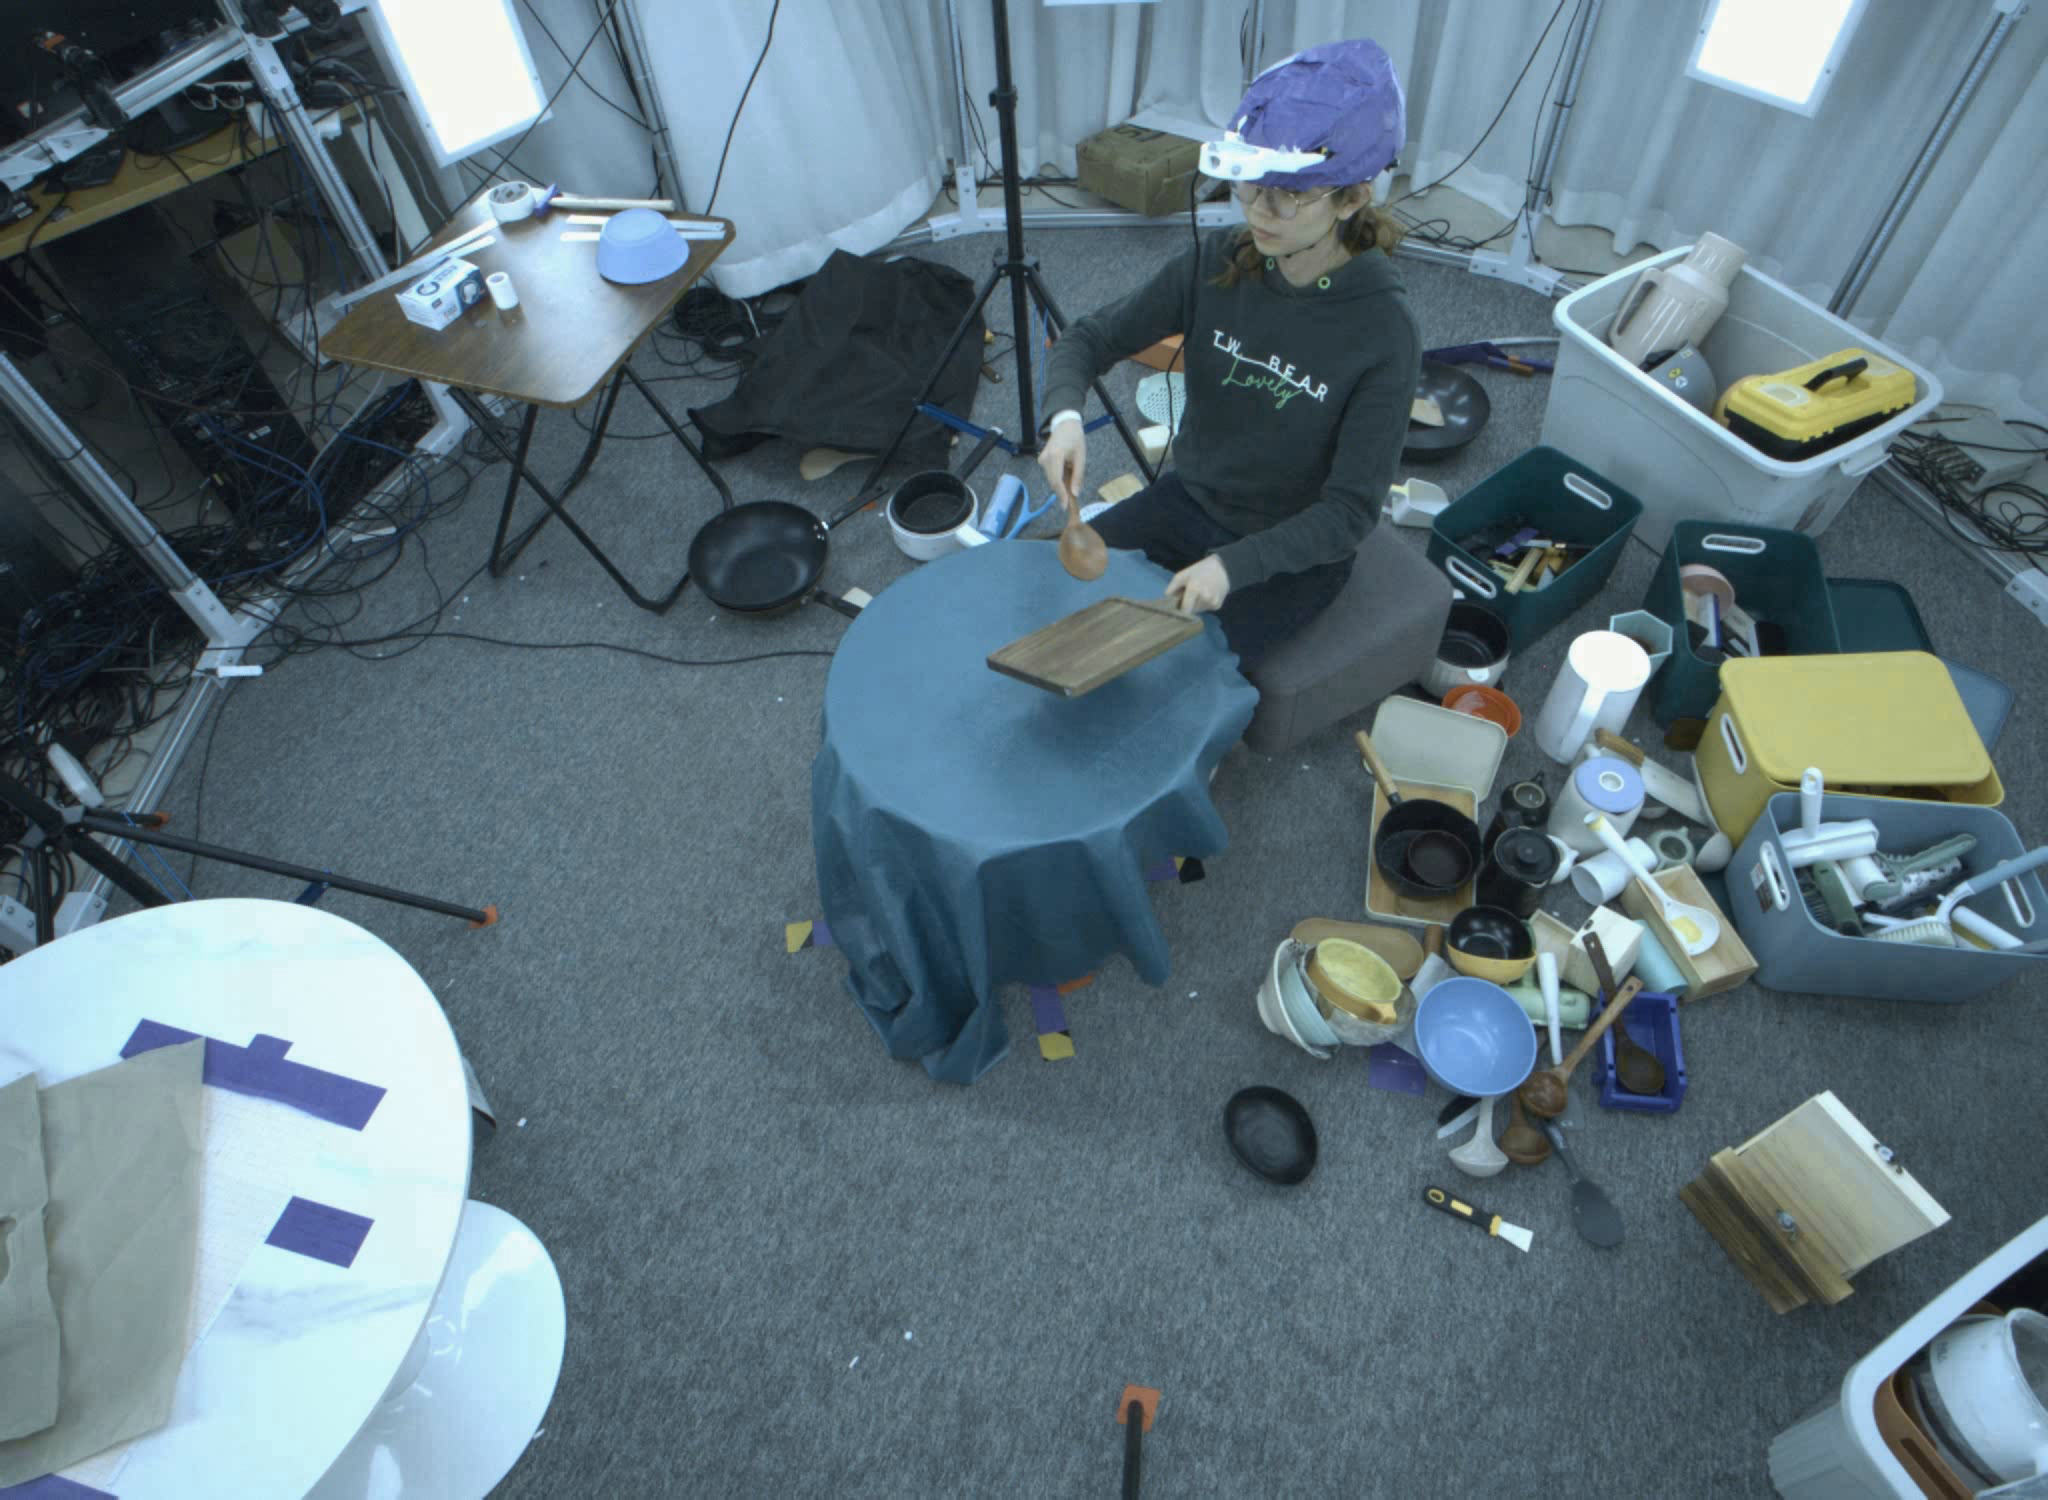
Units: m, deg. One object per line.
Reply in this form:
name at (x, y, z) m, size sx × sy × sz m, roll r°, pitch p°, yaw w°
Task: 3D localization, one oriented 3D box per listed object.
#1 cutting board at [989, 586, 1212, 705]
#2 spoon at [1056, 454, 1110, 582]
cutting board at (0.141, -0.163, 1.757) m, size 0.356 × 0.023 × 0.196 m, roll -29°, pitch 32°, yaw -30°
spoon at (0.076, -0.345, 1.816) m, size 0.076 × 0.017 × 0.214 m, roll -7°, pitch 76°, yaw -13°
